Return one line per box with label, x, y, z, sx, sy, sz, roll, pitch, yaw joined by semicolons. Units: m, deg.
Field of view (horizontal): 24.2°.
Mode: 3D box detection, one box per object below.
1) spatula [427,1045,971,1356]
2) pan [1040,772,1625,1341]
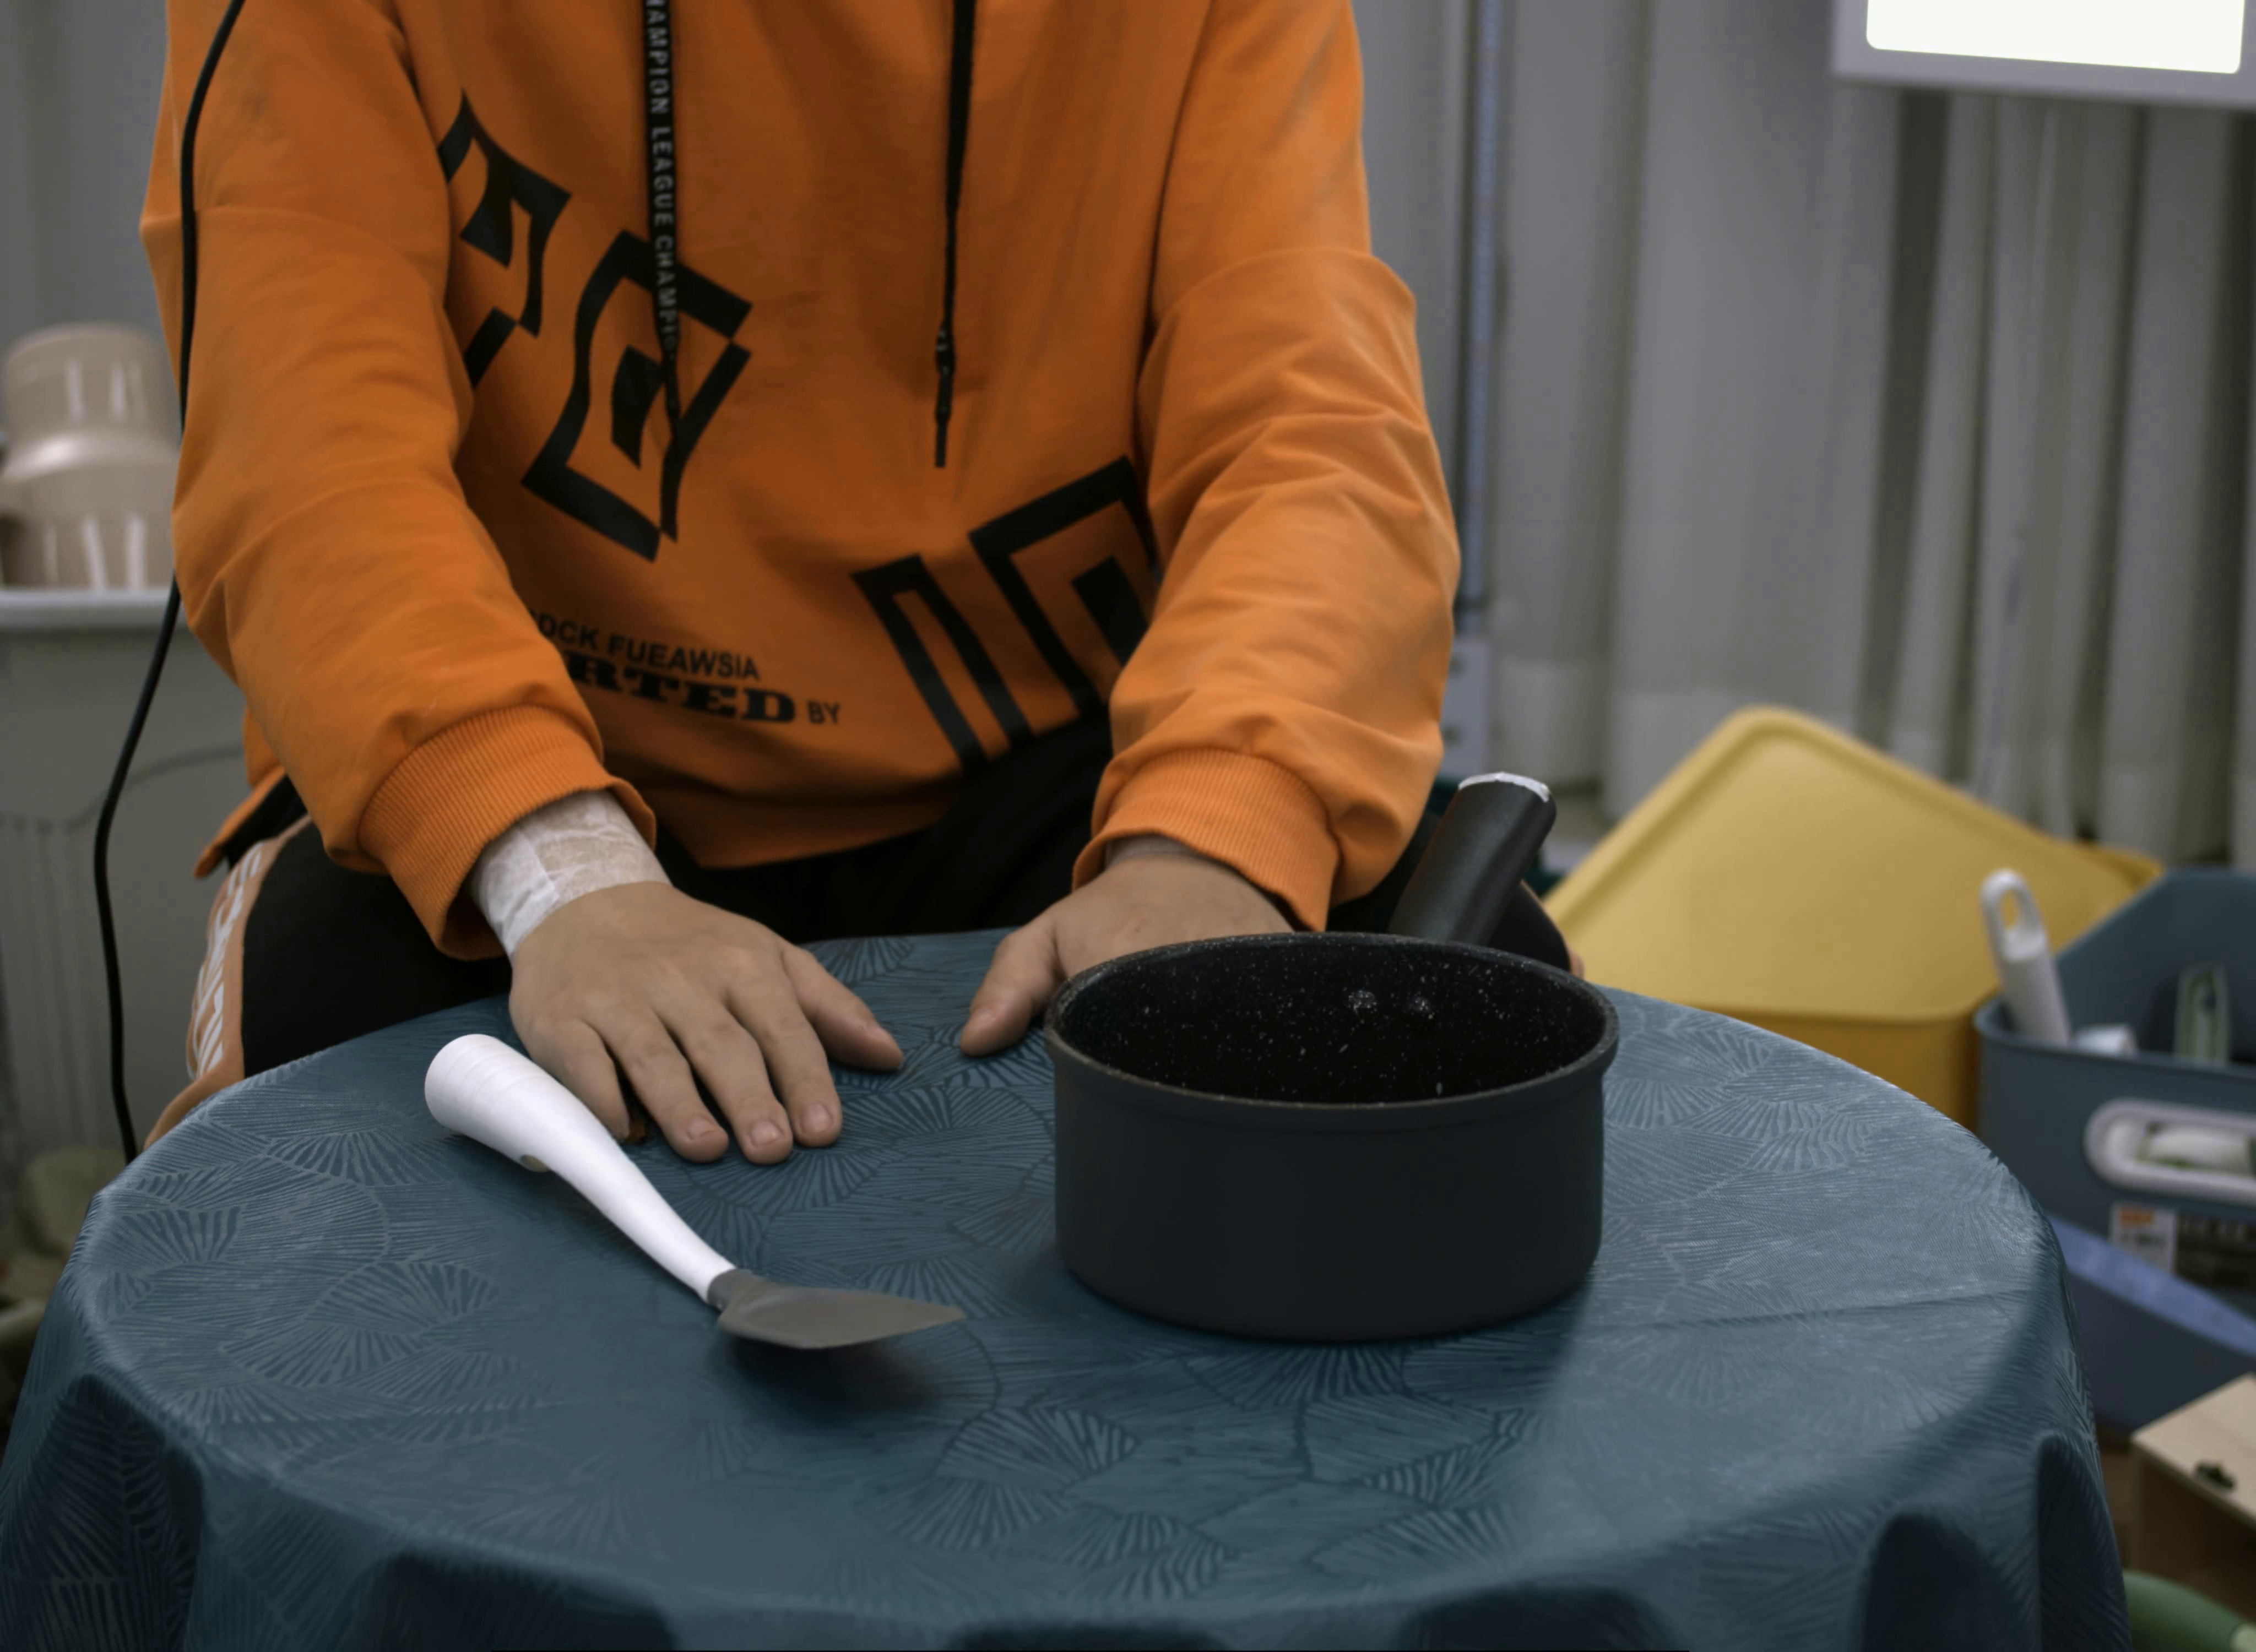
spatula;-0.135;0.115;1.548;0.059;0.032;0.284;-5;15;-31
pan;0.085;0.067;1.630;0.170;0.087;0.329;6;18;18
